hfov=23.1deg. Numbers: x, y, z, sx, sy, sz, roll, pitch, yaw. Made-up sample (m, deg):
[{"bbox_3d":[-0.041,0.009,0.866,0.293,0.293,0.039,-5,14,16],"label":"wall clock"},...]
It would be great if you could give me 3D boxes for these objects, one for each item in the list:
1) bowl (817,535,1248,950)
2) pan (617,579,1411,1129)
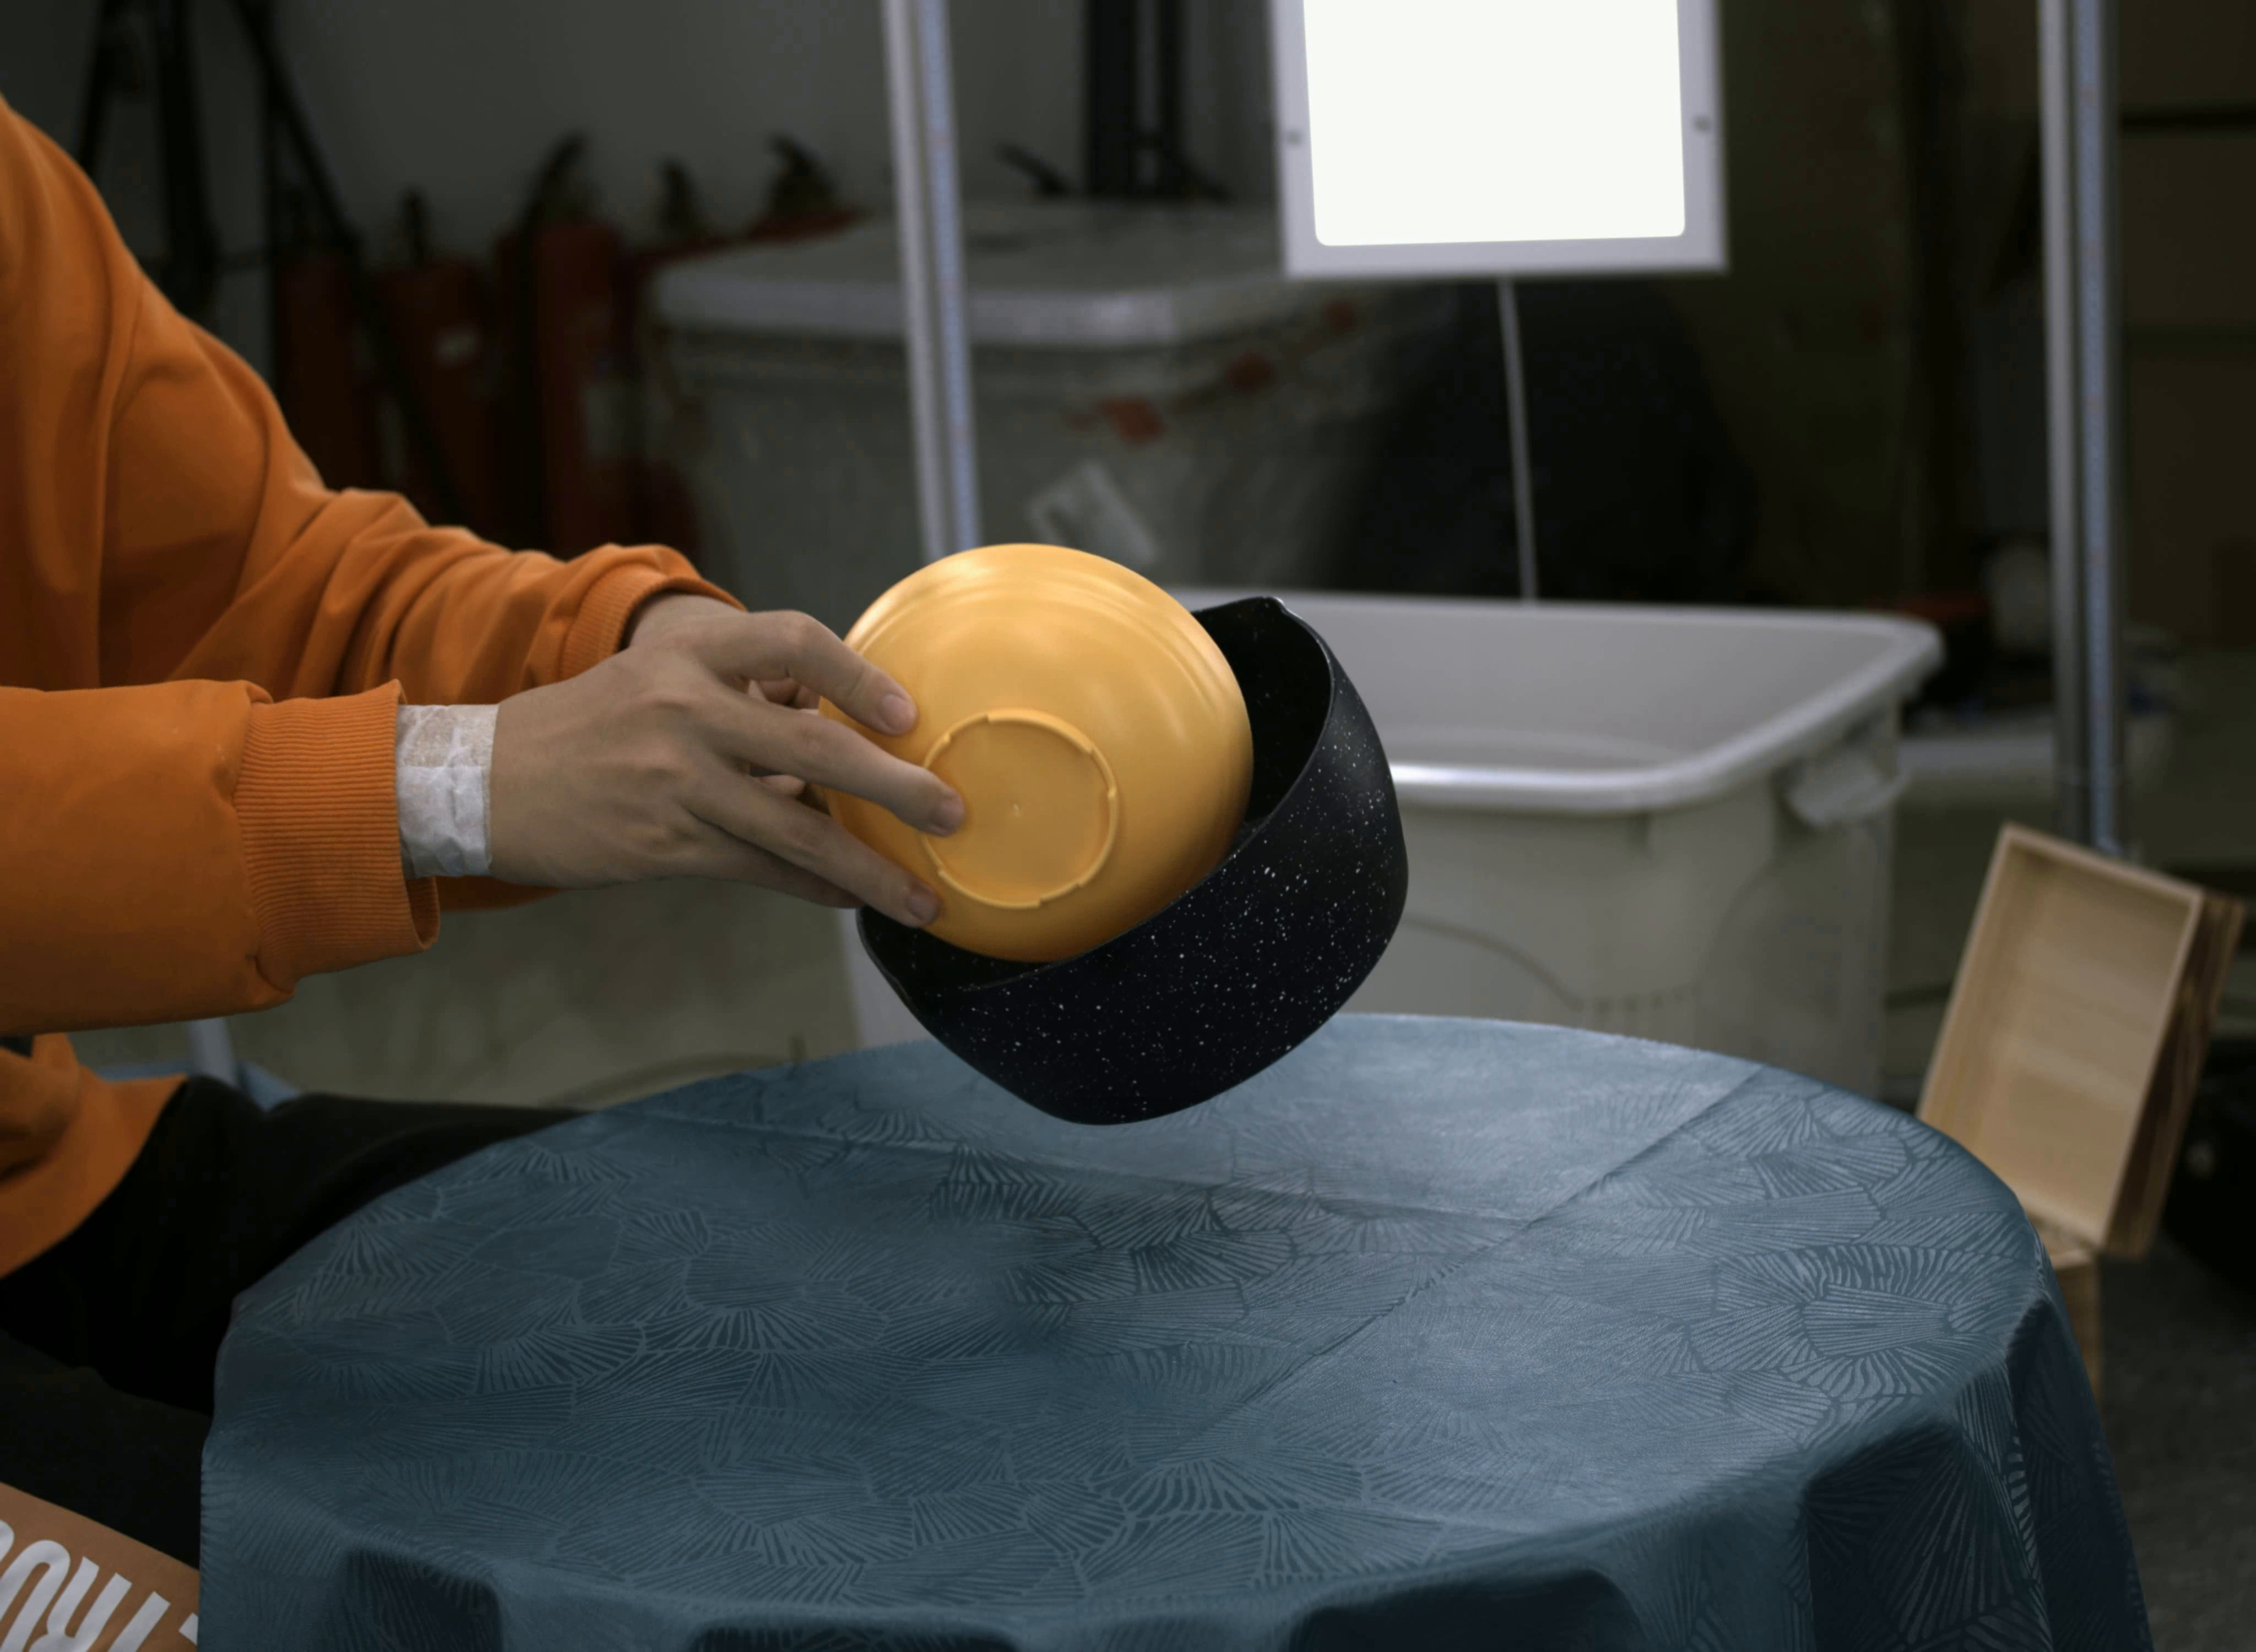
[{"bbox_3d":[-0.035,-0.016,1.782,0.146,0.146,0.059,-2,24,11],"label":"bowl"},{"bbox_3d":[-0.049,0.006,1.895,0.350,0.107,0.204,6,50,49],"label":"pan"}]
